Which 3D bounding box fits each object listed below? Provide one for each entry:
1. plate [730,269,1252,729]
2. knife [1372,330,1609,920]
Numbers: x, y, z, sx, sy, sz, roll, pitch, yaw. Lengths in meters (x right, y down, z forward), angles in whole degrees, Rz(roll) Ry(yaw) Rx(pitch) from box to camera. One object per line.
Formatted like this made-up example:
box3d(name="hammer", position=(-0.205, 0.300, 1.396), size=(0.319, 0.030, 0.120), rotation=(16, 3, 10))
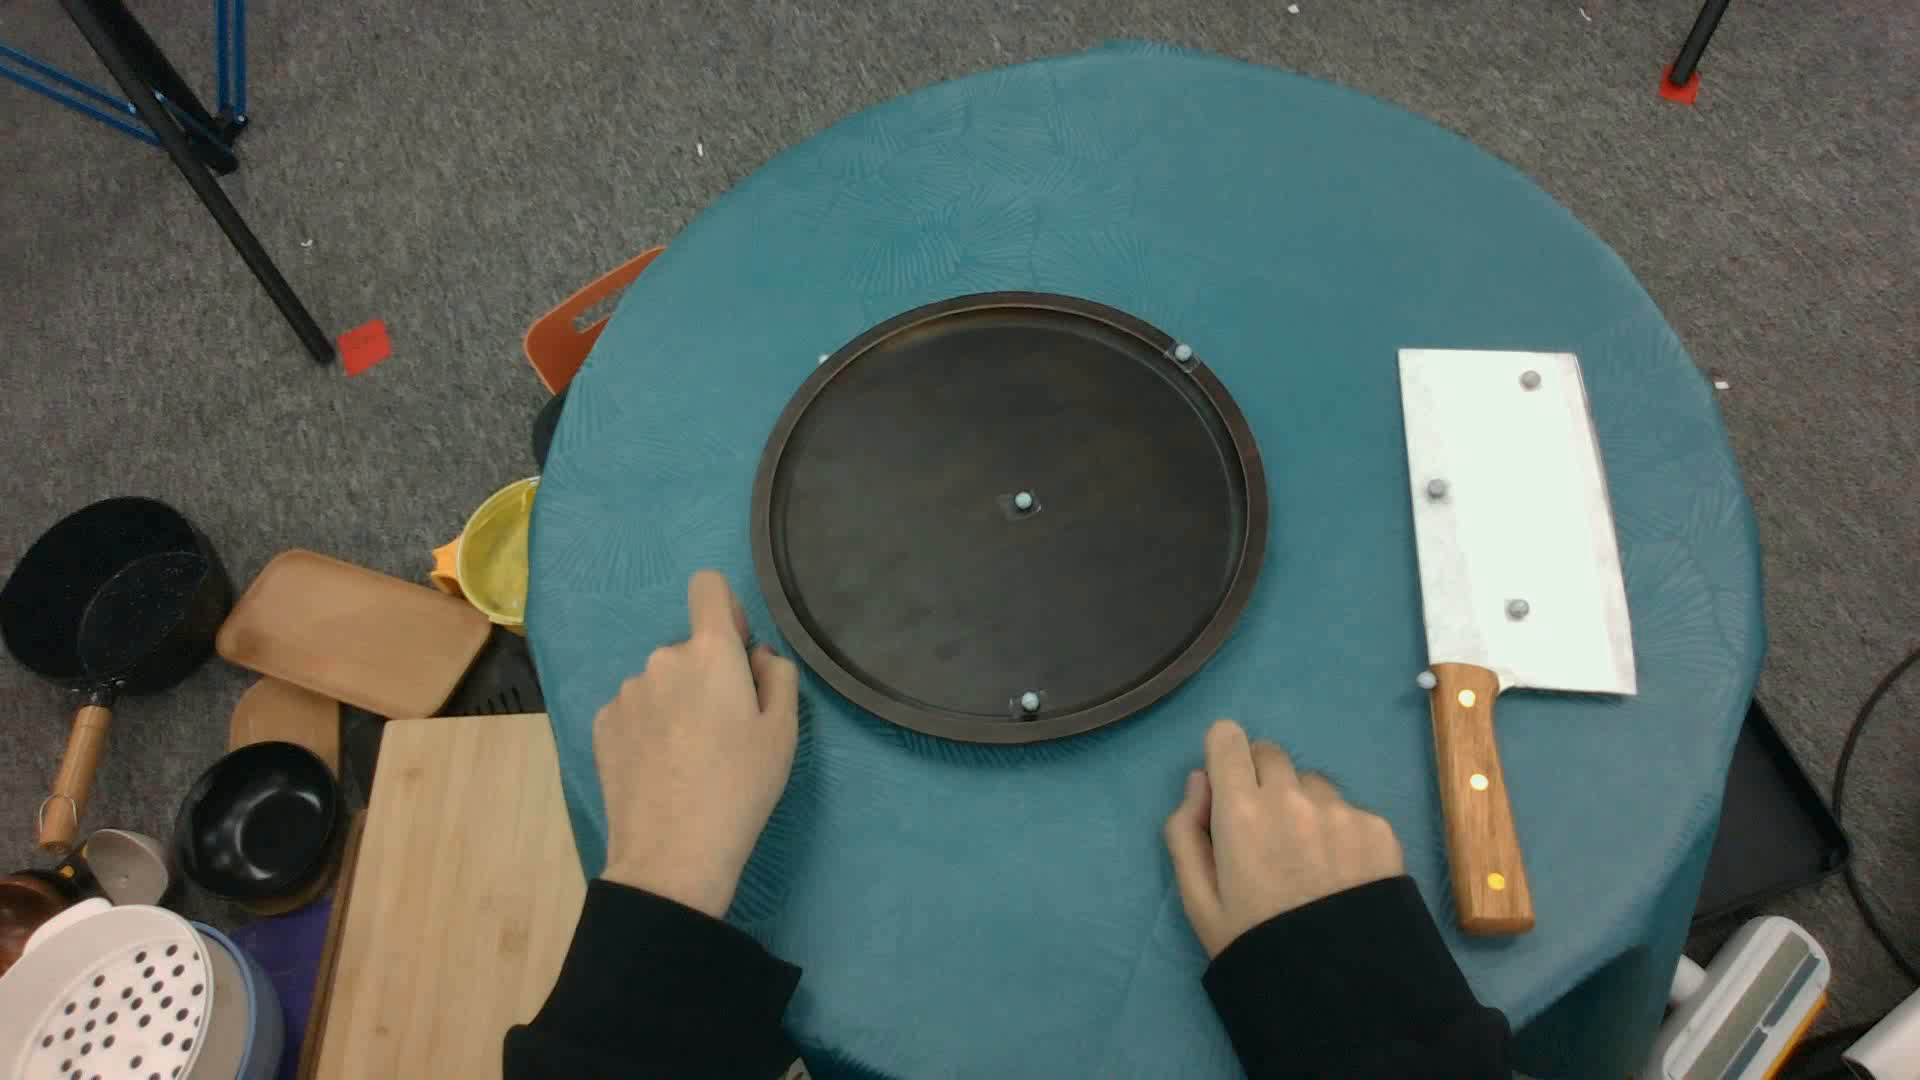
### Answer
box3d(name="plate", position=(0.014, -0.026, 0.674), size=(0.255, 0.029, 0.256), rotation=(-1, 61, 1))
box3d(name="knife", position=(0.249, 0.024, 0.639), size=(0.093, 0.021, 0.307), rotation=(2, 60, 3))
